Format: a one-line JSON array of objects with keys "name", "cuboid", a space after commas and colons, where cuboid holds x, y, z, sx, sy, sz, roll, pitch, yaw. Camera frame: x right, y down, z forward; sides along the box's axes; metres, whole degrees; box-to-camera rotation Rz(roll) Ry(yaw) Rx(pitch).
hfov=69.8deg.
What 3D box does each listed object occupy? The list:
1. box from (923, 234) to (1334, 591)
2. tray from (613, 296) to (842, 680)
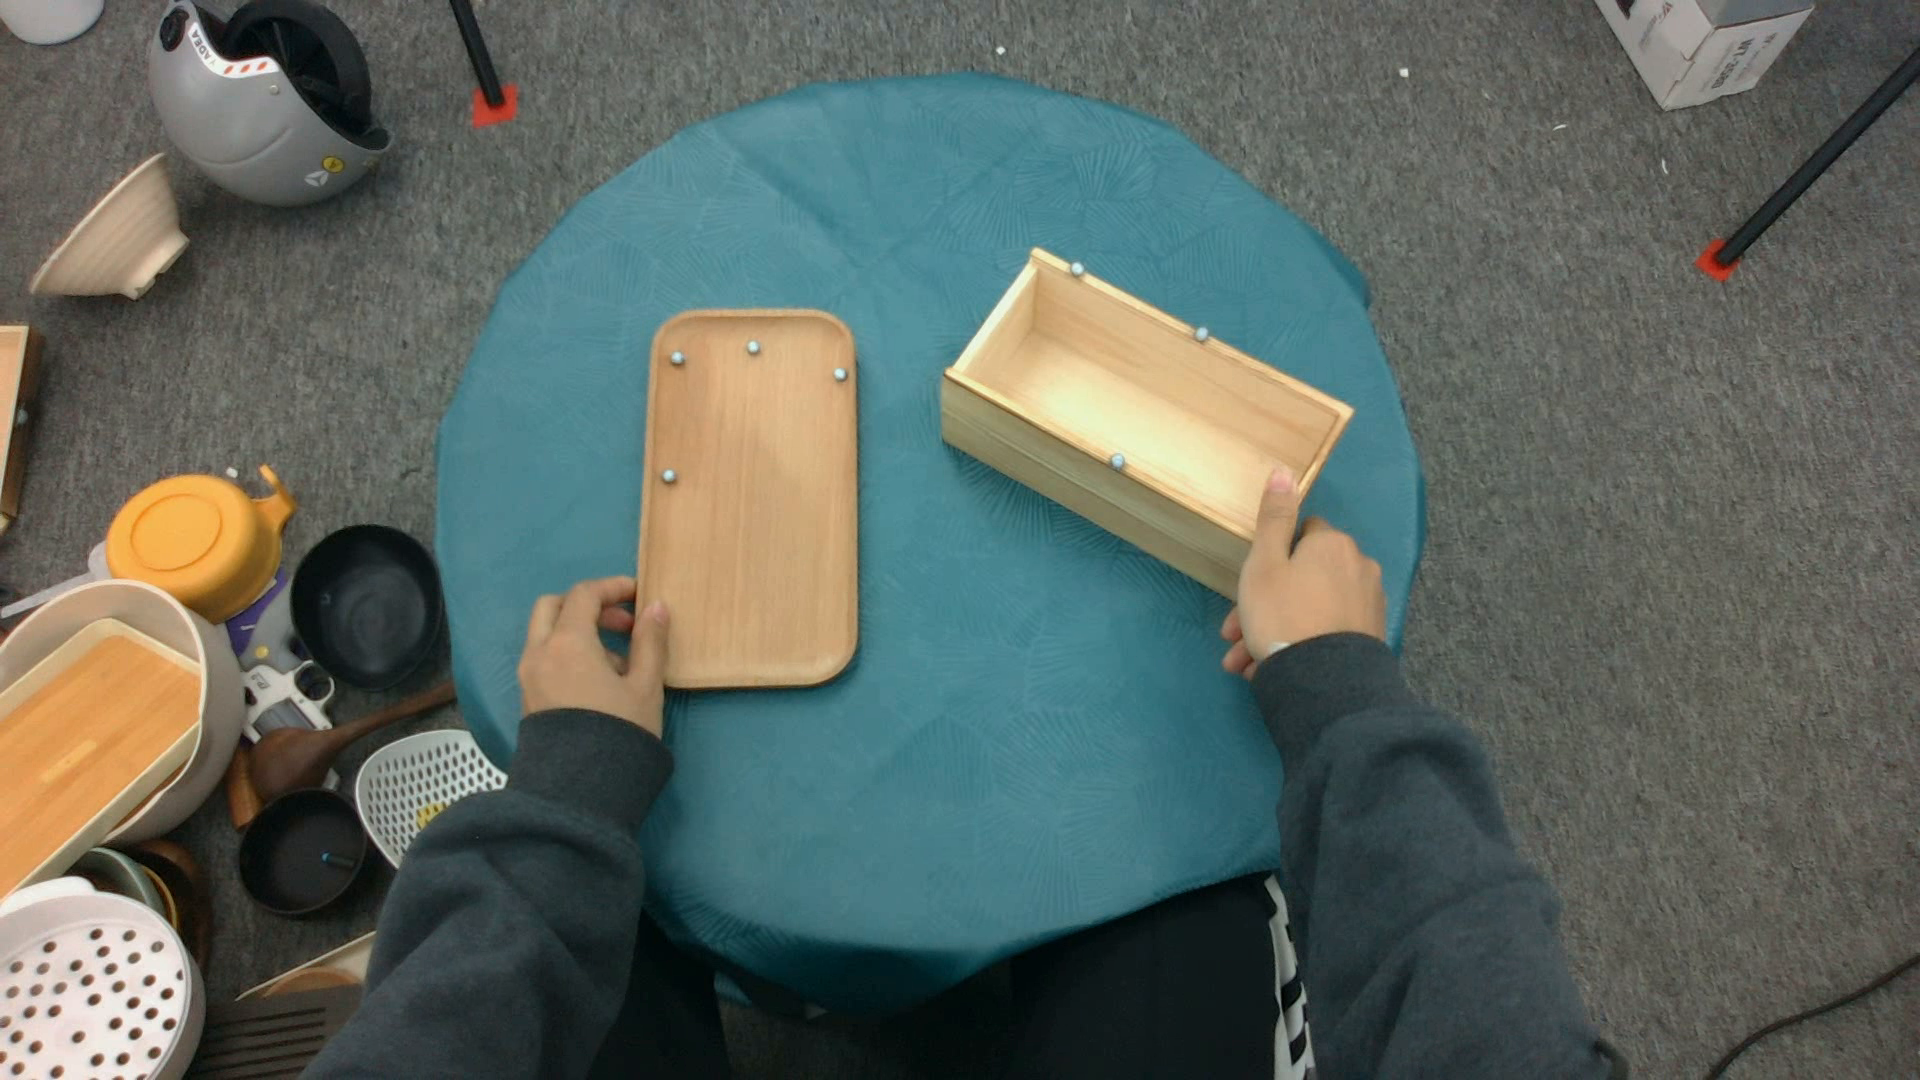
[{"name": "box", "cuboid": [0.095, -0.076, 0.815, 0.211, 0.080, 0.108, 29, 69, 11]}, {"name": "tray", "cuboid": [-0.136, -0.037, 0.822, 0.130, 0.023, 0.251, -2, 66, -1]}]
